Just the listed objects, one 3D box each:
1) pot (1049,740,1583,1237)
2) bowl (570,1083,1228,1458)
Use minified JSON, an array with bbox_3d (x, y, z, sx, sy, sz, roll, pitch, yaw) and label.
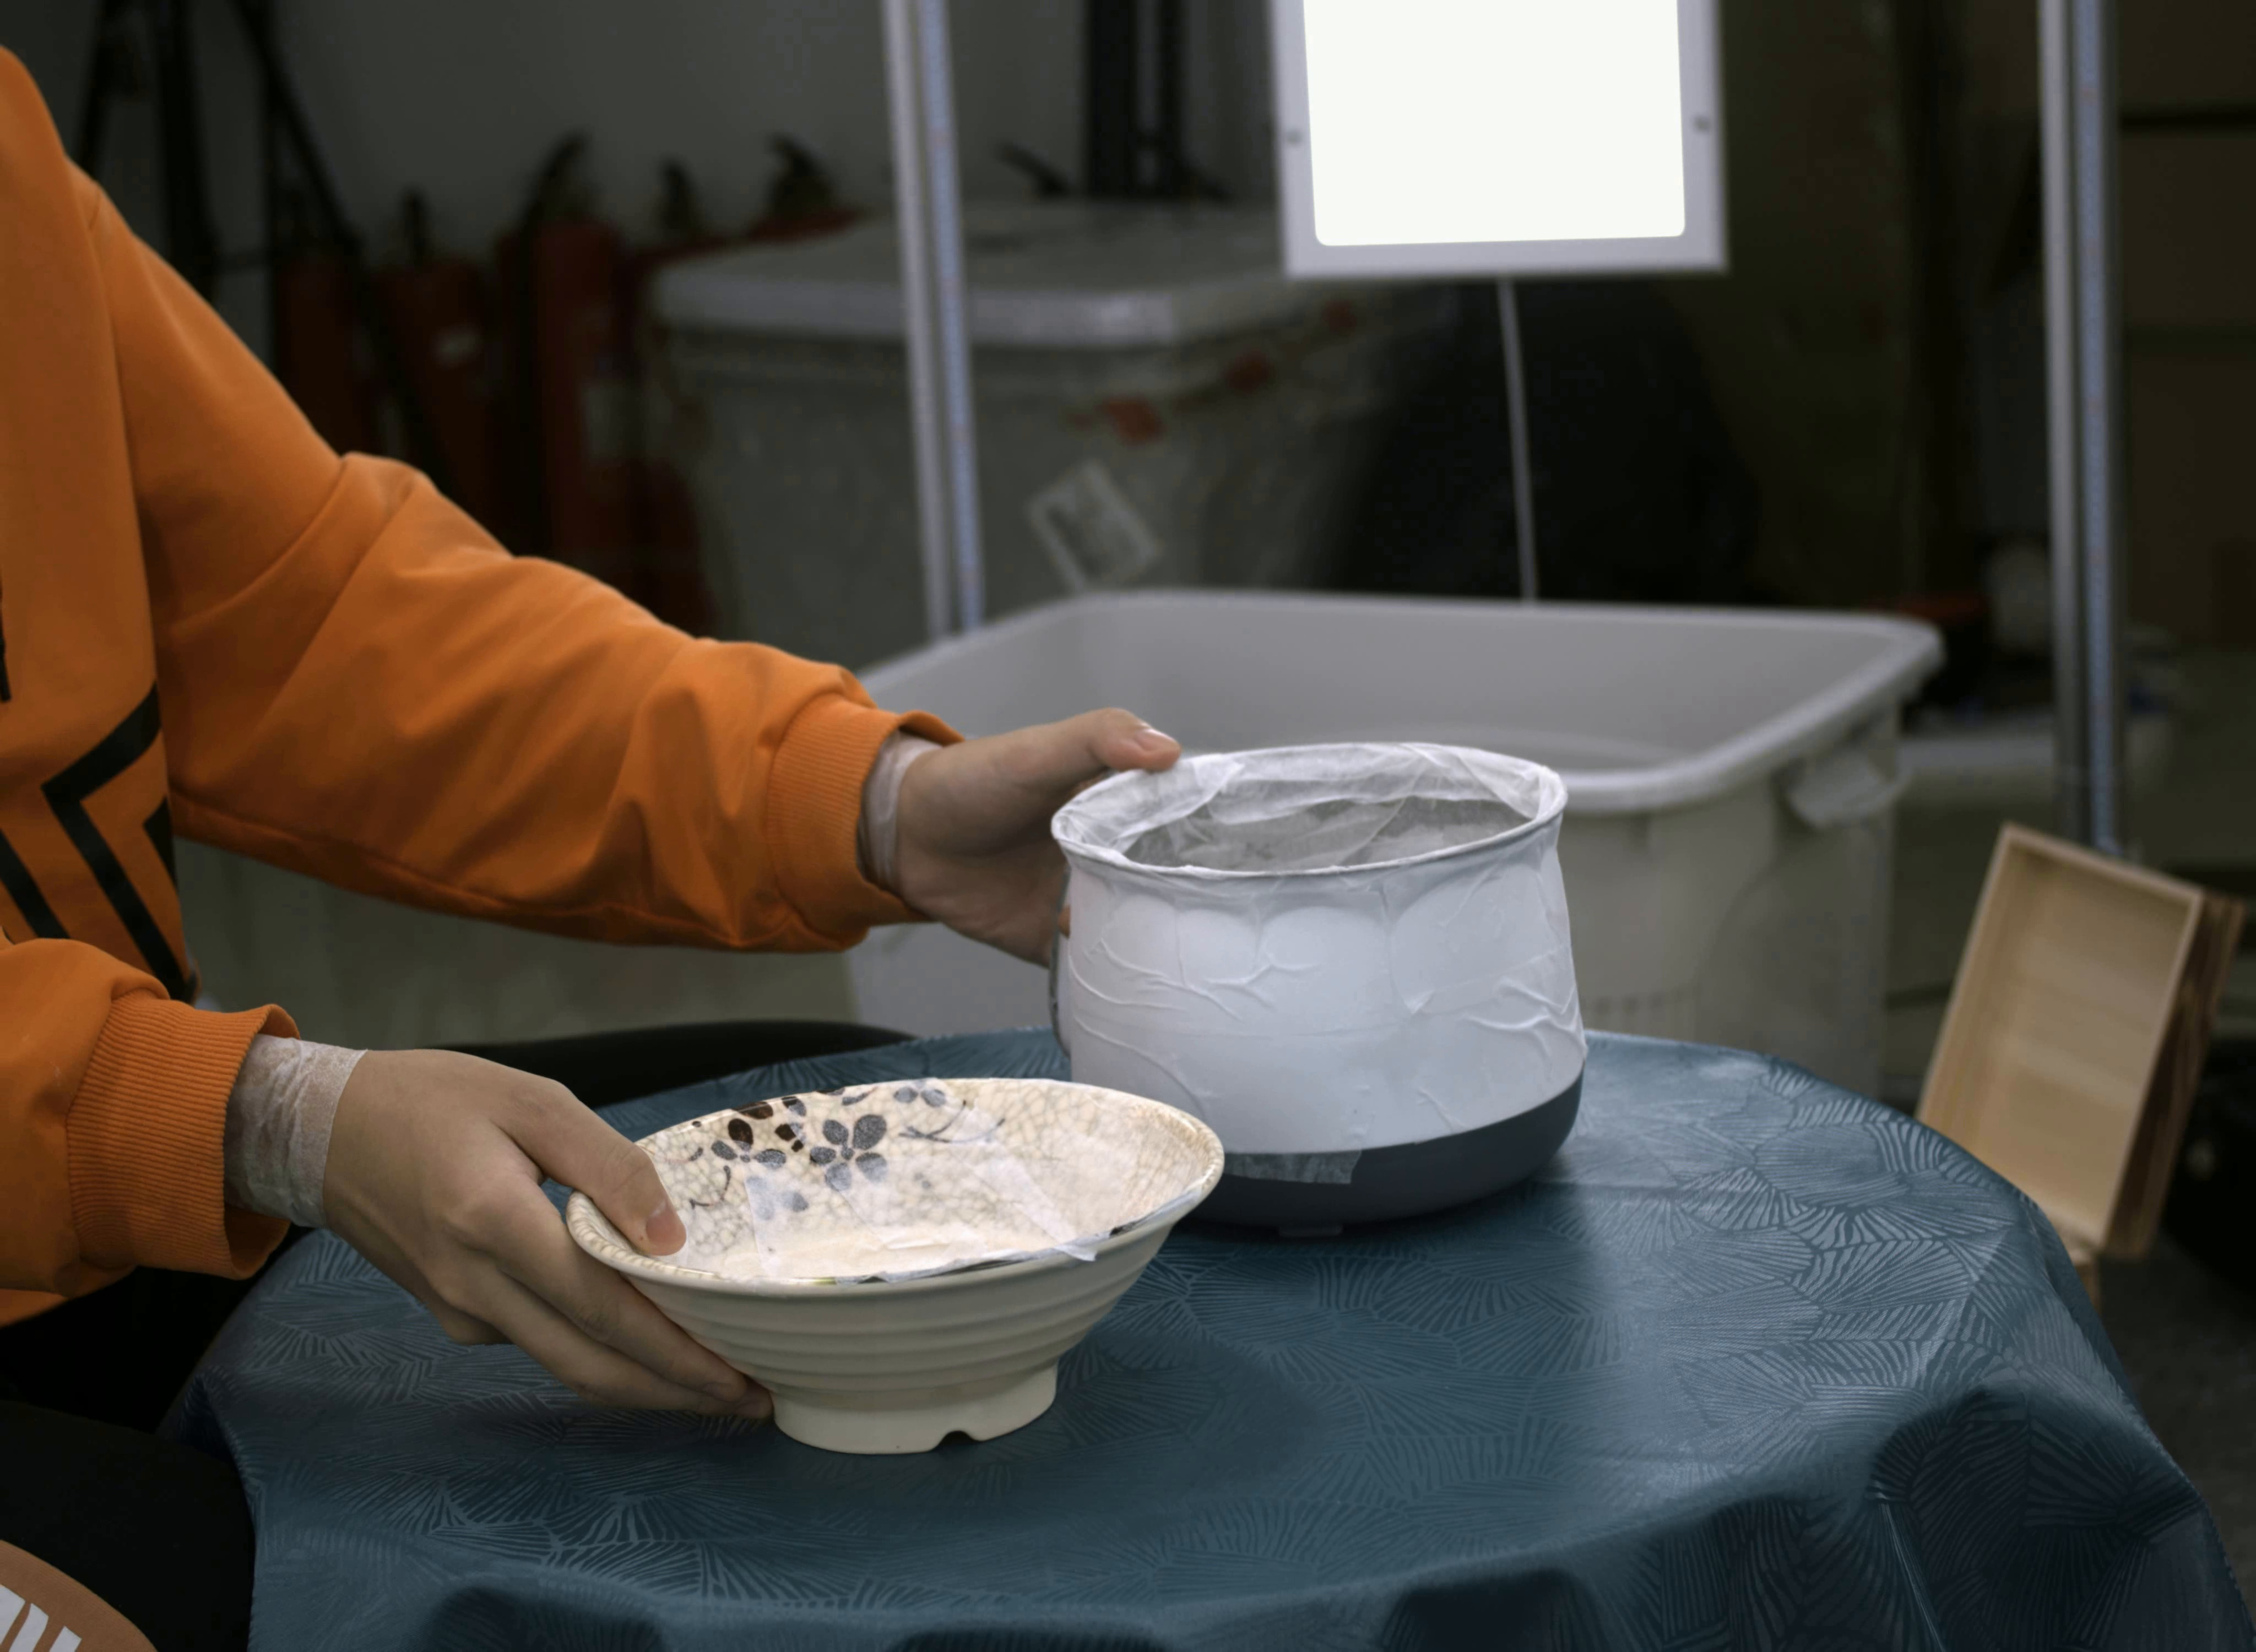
[{"bbox_3d":[0.049,0.050,1.902,0.174,0.137,0.238,-14,17,-35],"label":"pot"},{"bbox_3d":[-0.066,0.143,1.695,0.203,0.078,0.204,-7,13,0],"label":"bowl"}]
